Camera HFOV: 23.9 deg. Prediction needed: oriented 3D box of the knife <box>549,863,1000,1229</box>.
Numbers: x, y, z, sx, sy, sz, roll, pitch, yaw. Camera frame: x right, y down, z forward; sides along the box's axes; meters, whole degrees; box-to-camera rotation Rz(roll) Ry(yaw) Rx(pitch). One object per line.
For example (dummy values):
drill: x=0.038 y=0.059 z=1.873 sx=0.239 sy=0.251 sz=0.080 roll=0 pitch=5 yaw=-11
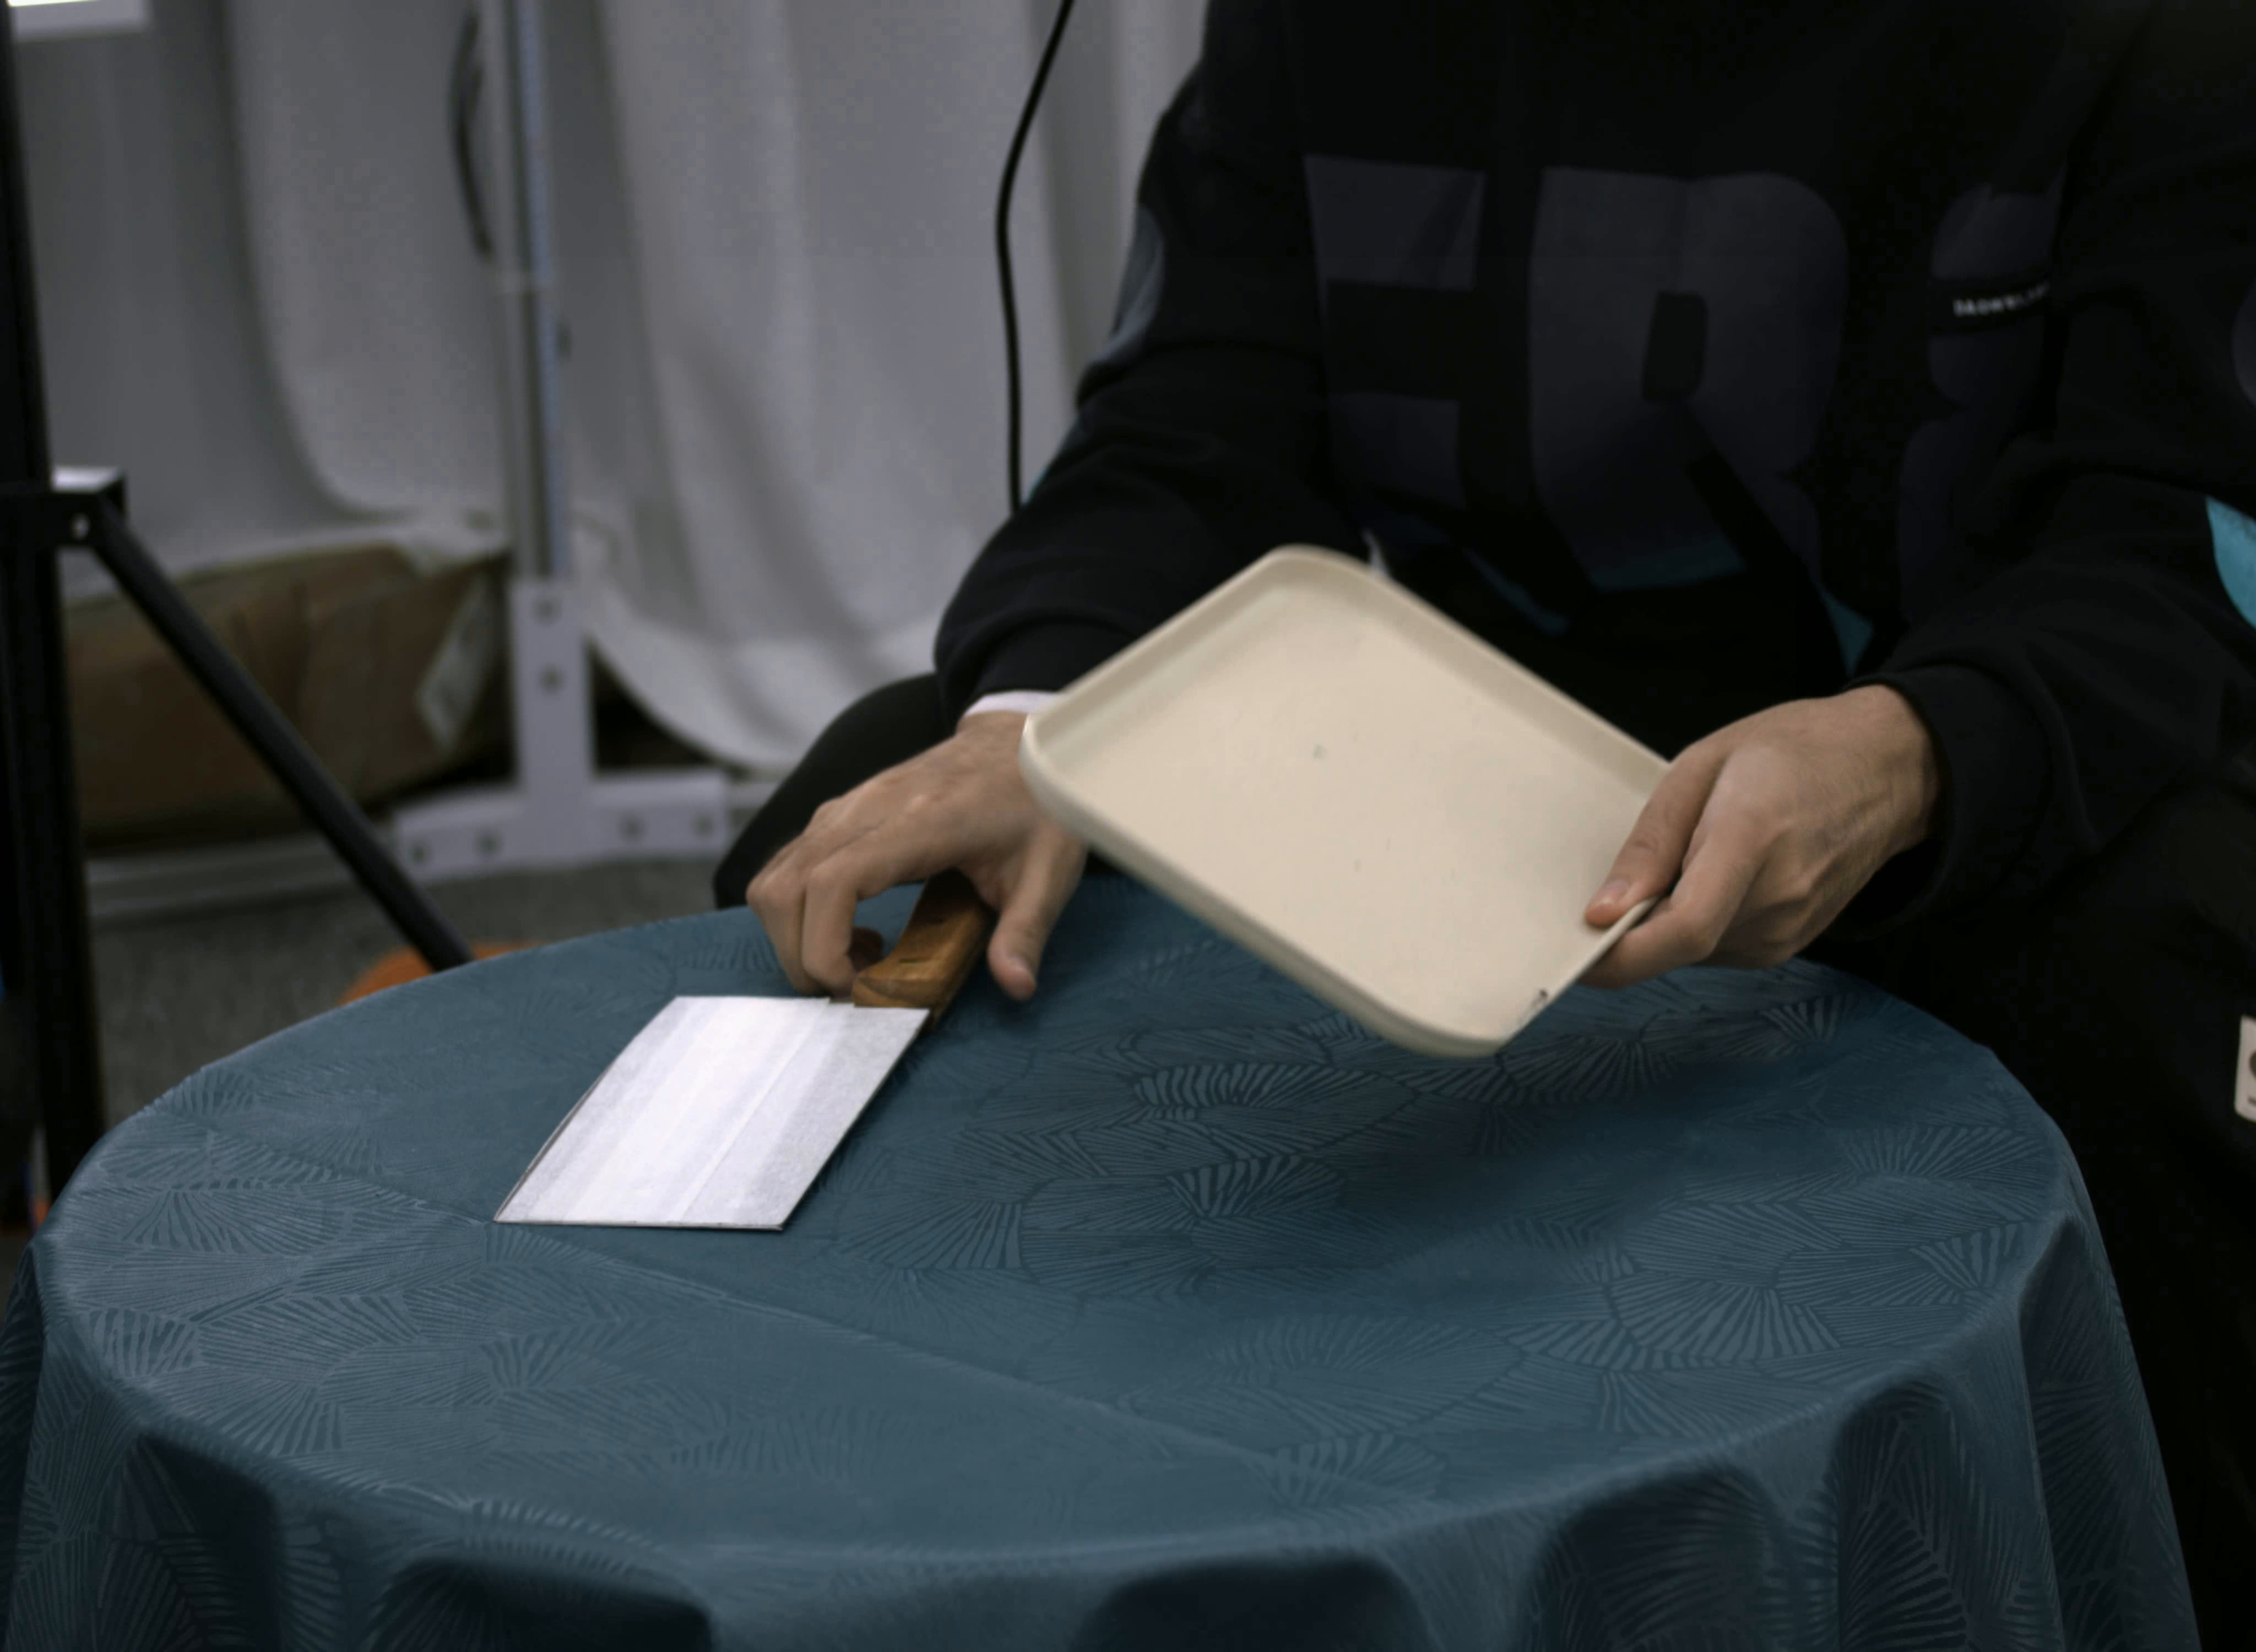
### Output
knife: x=-0.110 y=0.068 z=1.689 sx=0.093 sy=0.021 sz=0.304 roll=-1 pitch=18 yaw=13

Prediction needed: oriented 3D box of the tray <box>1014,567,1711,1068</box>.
tray: x=0.073 y=-0.004 z=1.595 sx=0.173 sy=0.017 sz=0.236 roll=31 pitch=28 yaw=13
